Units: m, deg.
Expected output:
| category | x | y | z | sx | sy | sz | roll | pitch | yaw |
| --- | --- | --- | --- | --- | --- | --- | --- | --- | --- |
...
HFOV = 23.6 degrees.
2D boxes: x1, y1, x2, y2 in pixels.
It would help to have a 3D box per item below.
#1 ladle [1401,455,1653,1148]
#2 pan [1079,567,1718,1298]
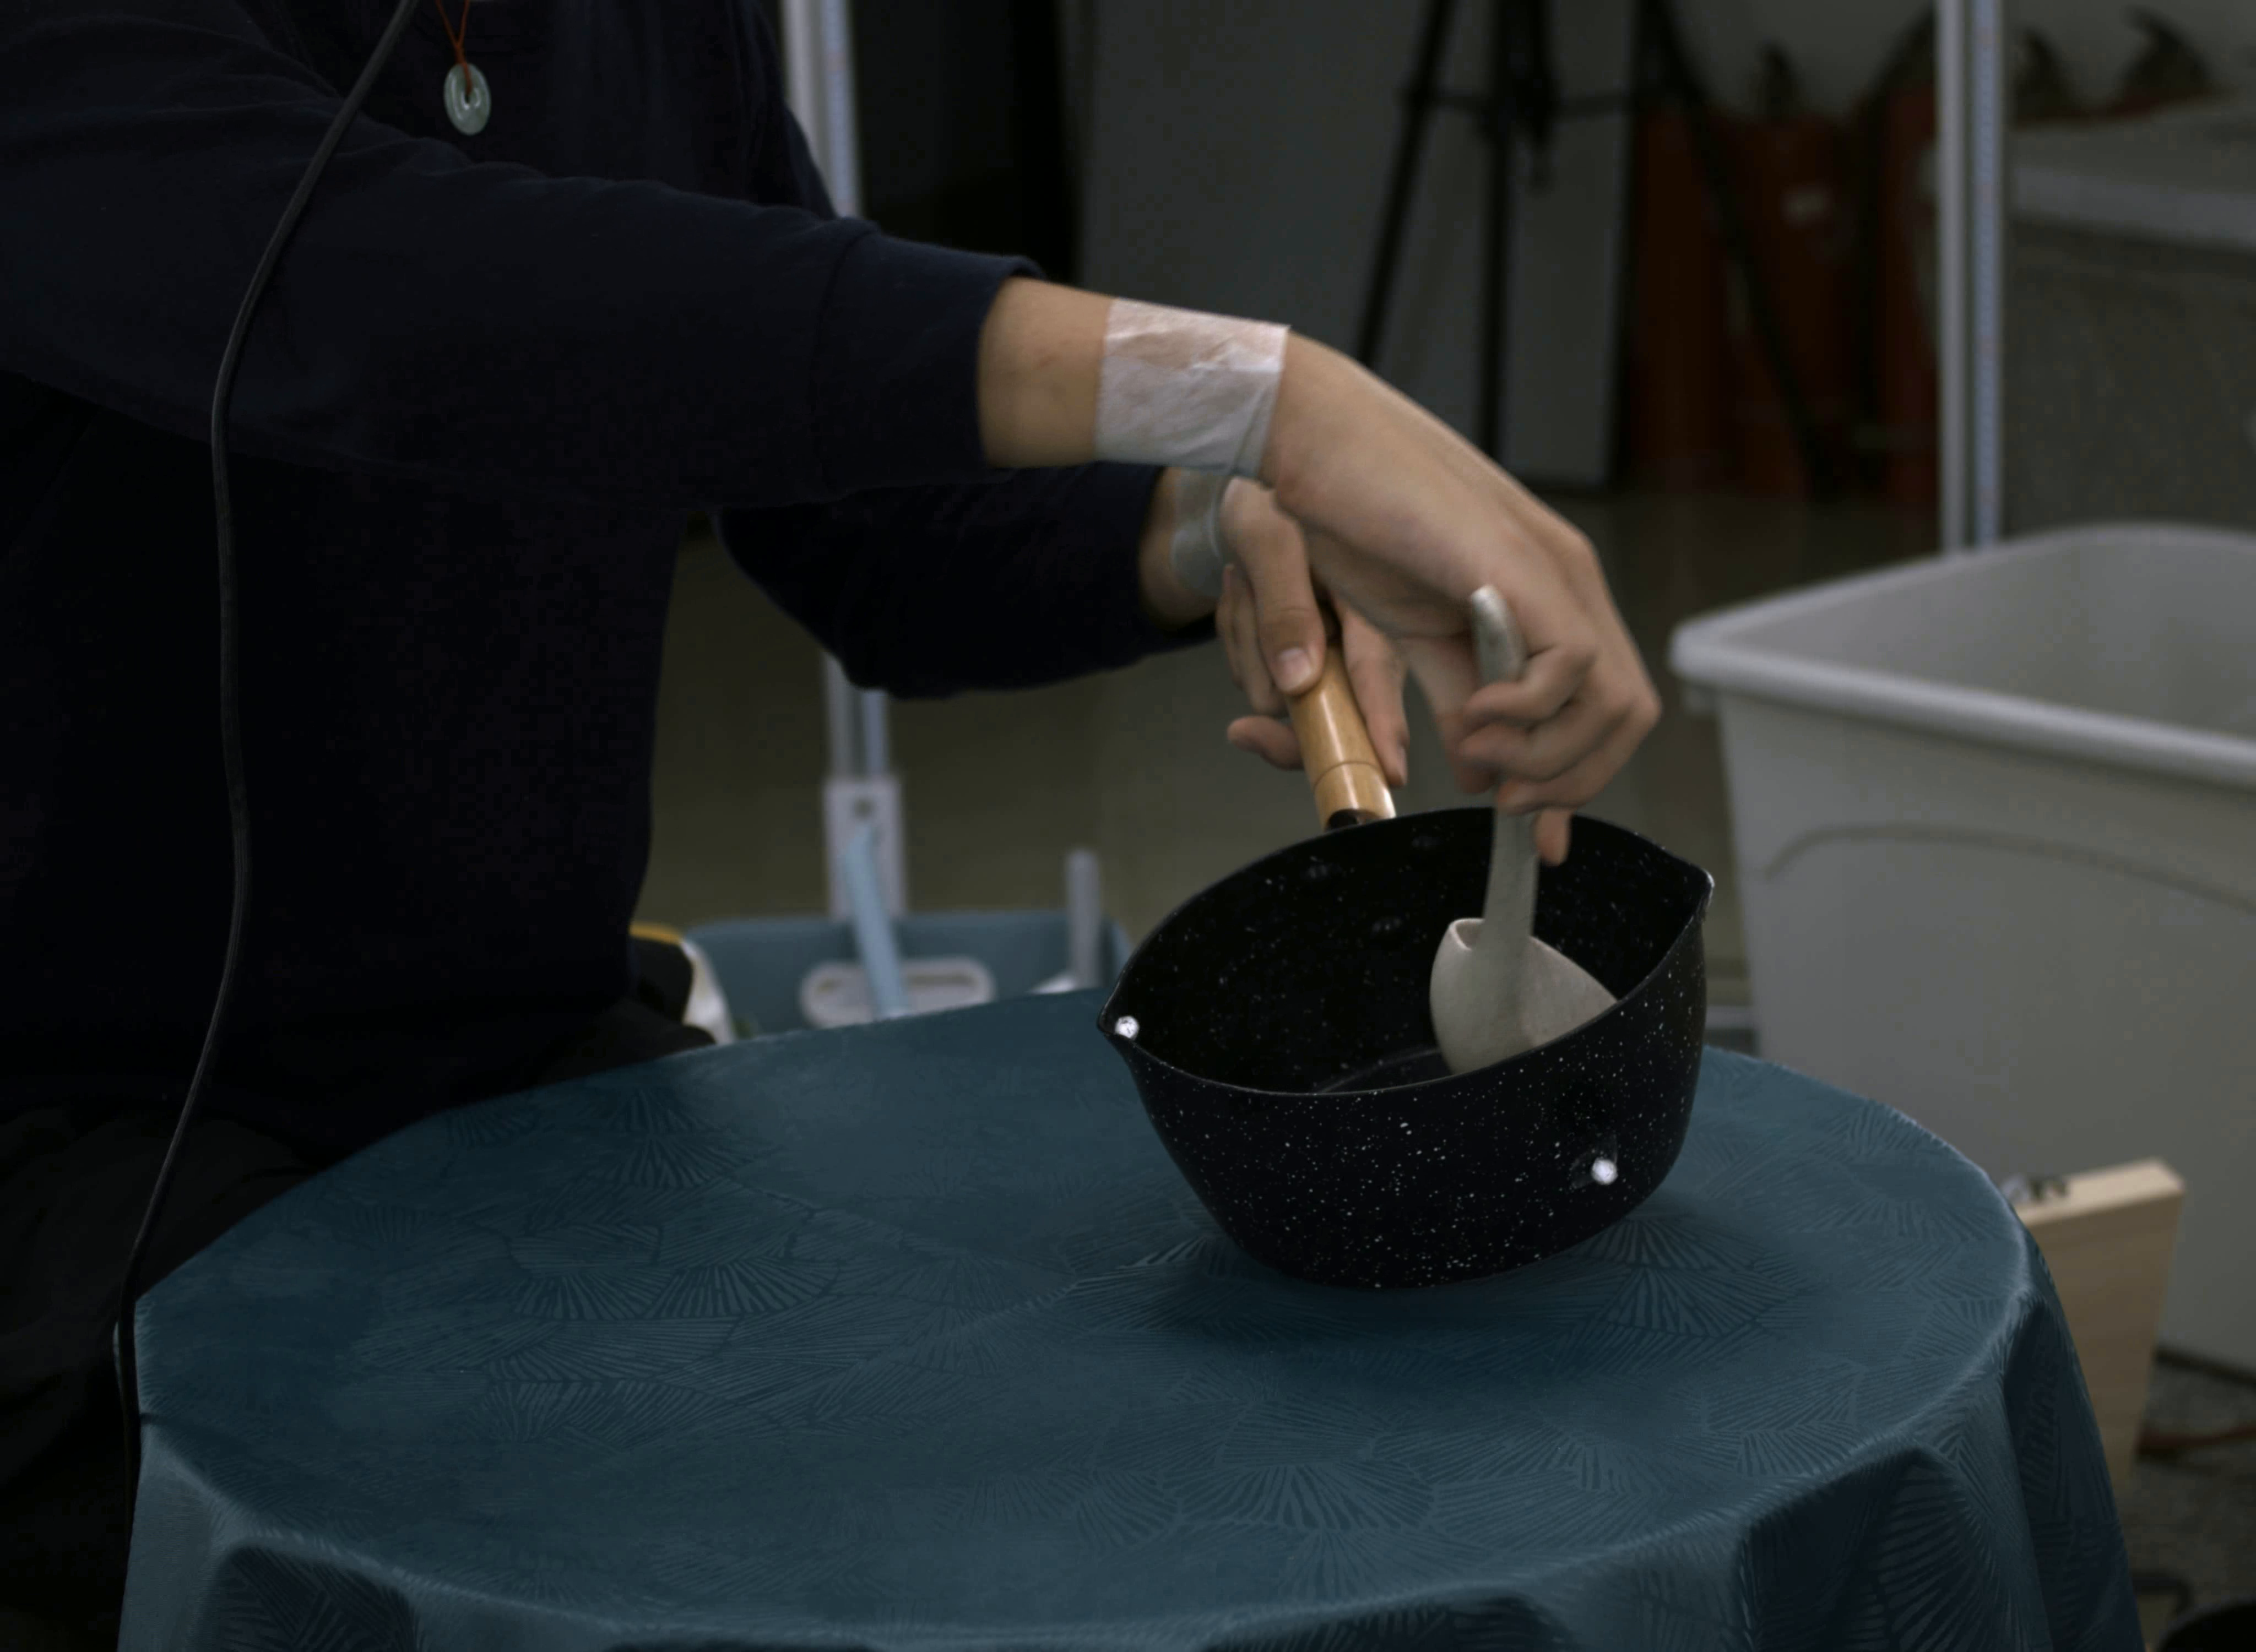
| category | x | y | z | sx | sy | sz | roll | pitch | yaw |
| --- | --- | --- | --- | --- | --- | --- | --- | --- | --- |
| ladle | 0.118 | -0.012 | 1.571 | 0.068 | 0.275 | 0.090 | -15 | 46 | -8 |
| pan | 0.082 | 0.029 | 1.766 | 0.205 | 0.109 | 0.345 | -16 | 26 | 0 |
